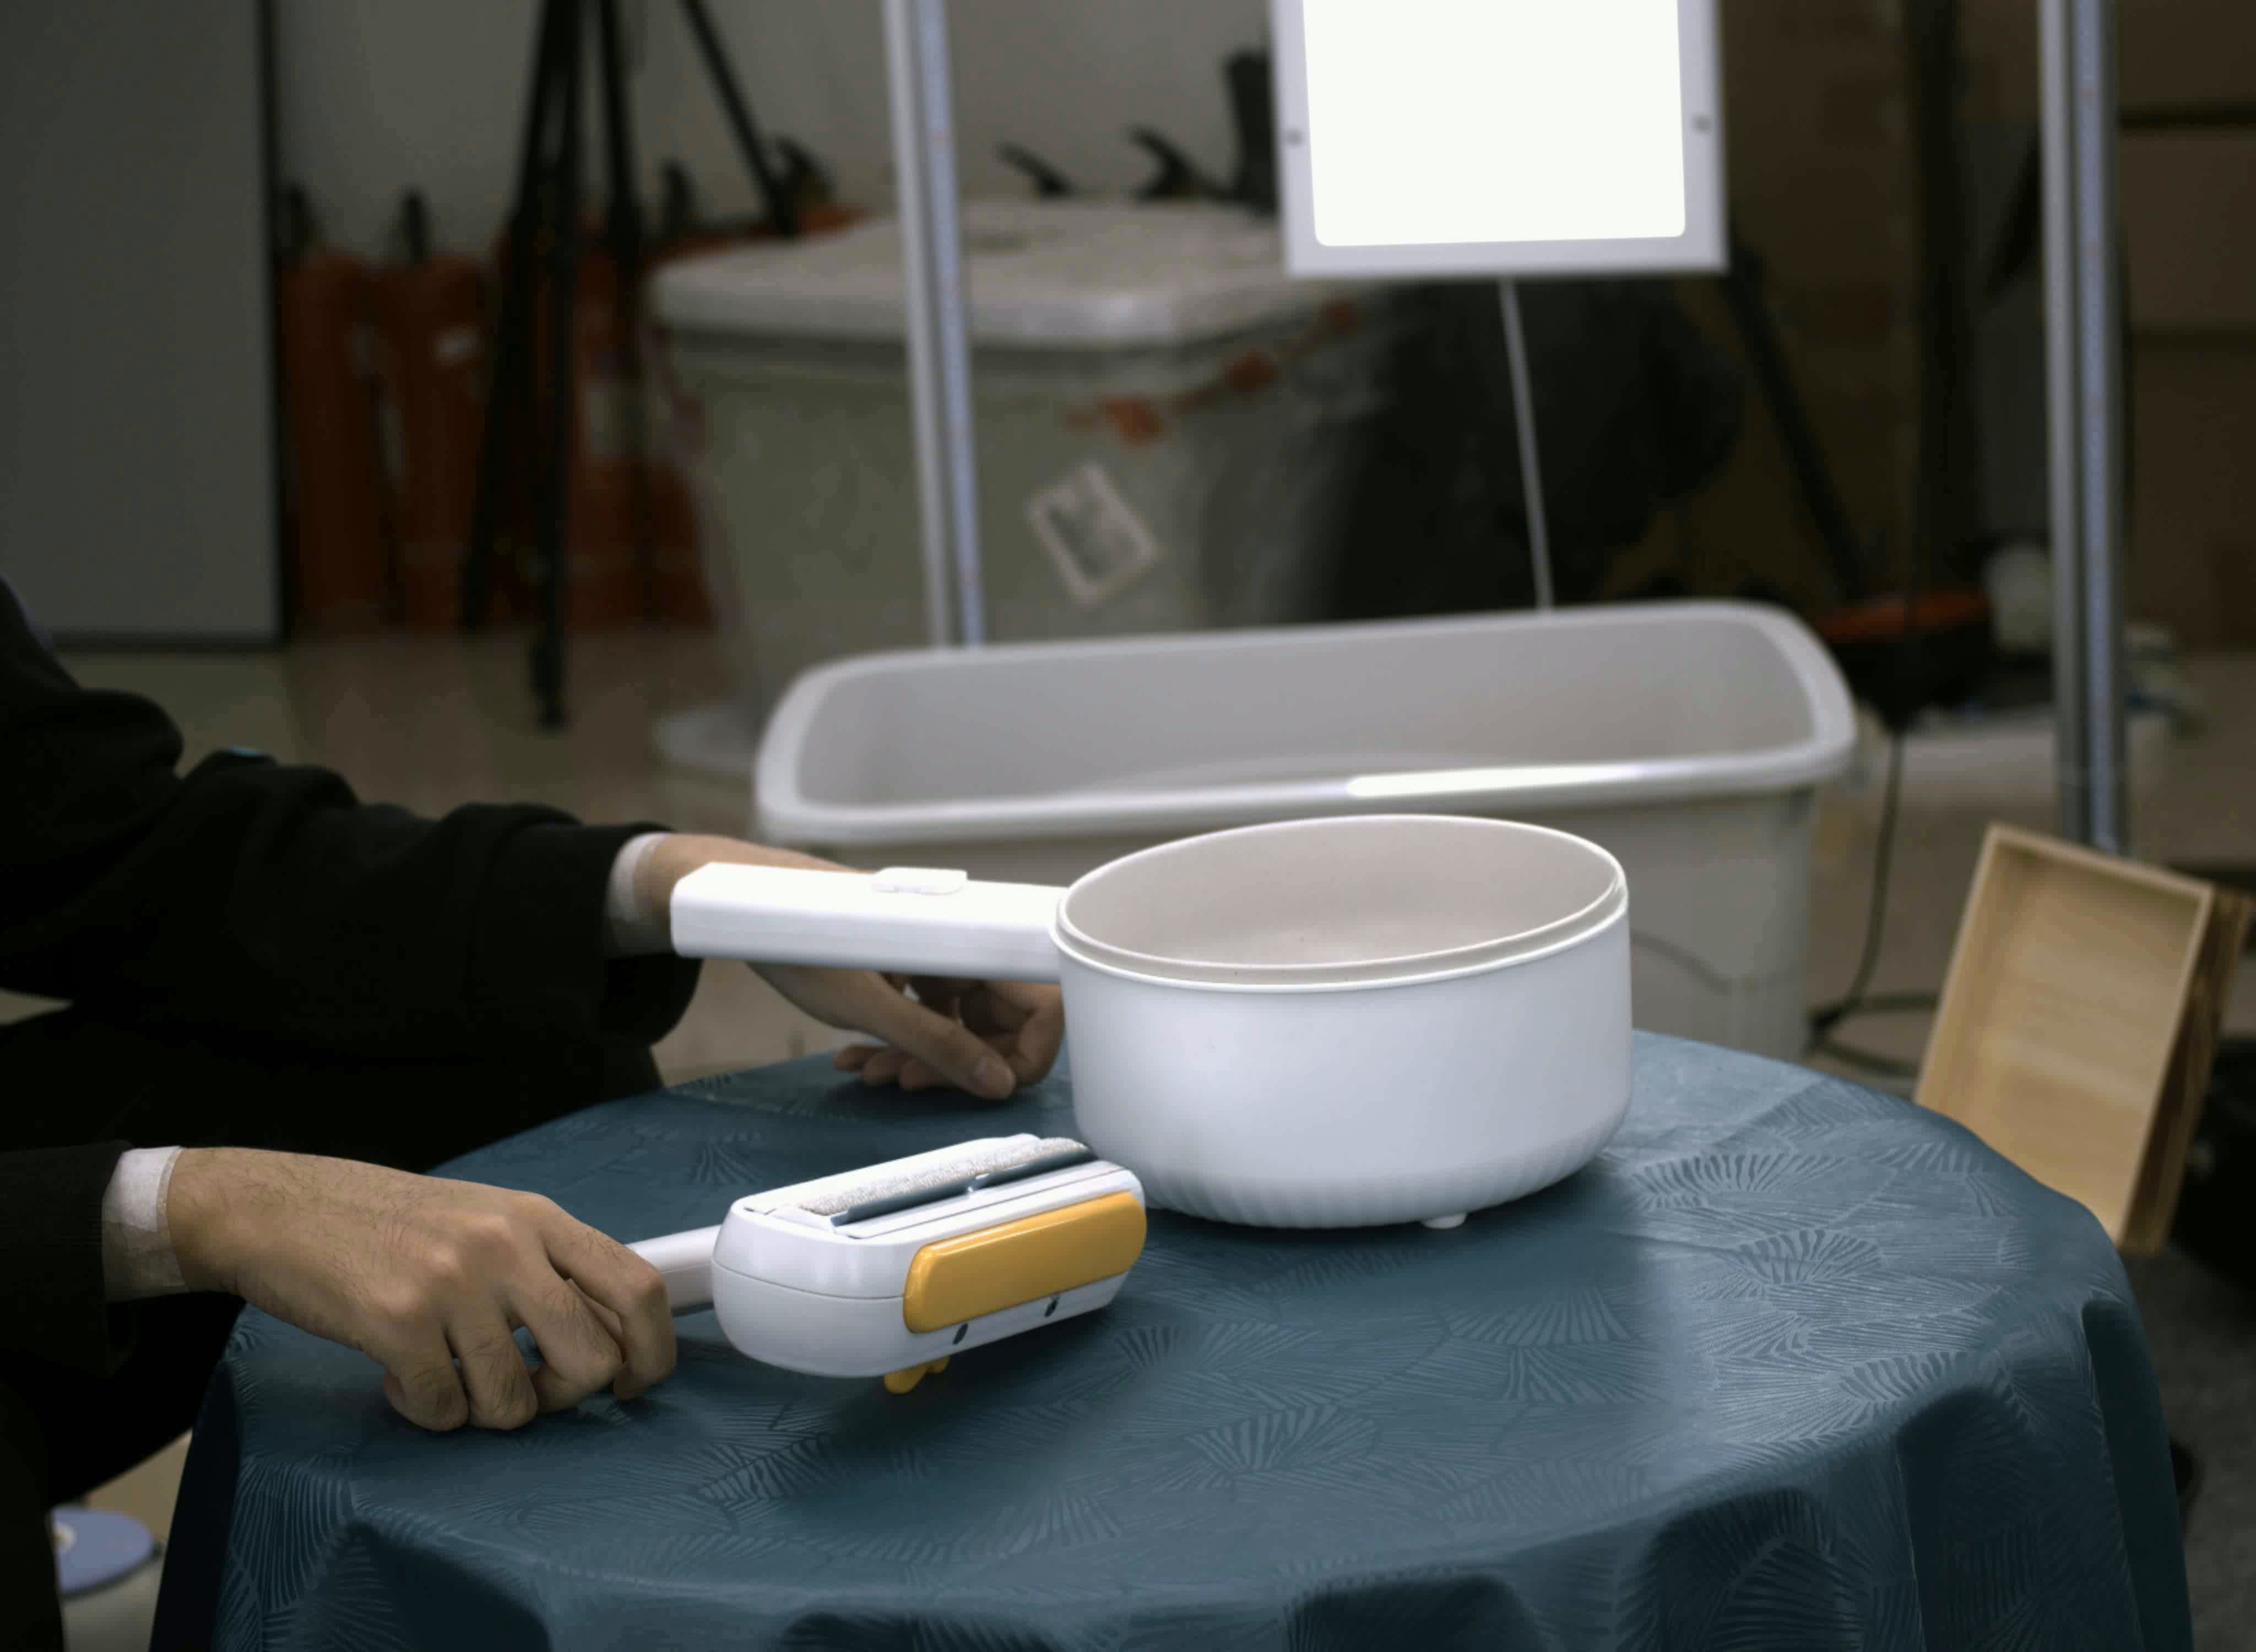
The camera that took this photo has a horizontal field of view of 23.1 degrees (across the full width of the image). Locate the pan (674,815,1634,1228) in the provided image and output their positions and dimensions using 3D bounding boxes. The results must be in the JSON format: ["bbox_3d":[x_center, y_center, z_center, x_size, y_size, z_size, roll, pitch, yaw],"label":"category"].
[{"bbox_3d":[0.006,0.067,1.921,0.361,0.102,0.197,2,16,26],"label":"pan"}]

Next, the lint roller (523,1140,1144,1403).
[{"bbox_3d":[-0.113,0.139,1.746,0.196,0.074,0.188,2,10,34],"label":"lint roller"}]
